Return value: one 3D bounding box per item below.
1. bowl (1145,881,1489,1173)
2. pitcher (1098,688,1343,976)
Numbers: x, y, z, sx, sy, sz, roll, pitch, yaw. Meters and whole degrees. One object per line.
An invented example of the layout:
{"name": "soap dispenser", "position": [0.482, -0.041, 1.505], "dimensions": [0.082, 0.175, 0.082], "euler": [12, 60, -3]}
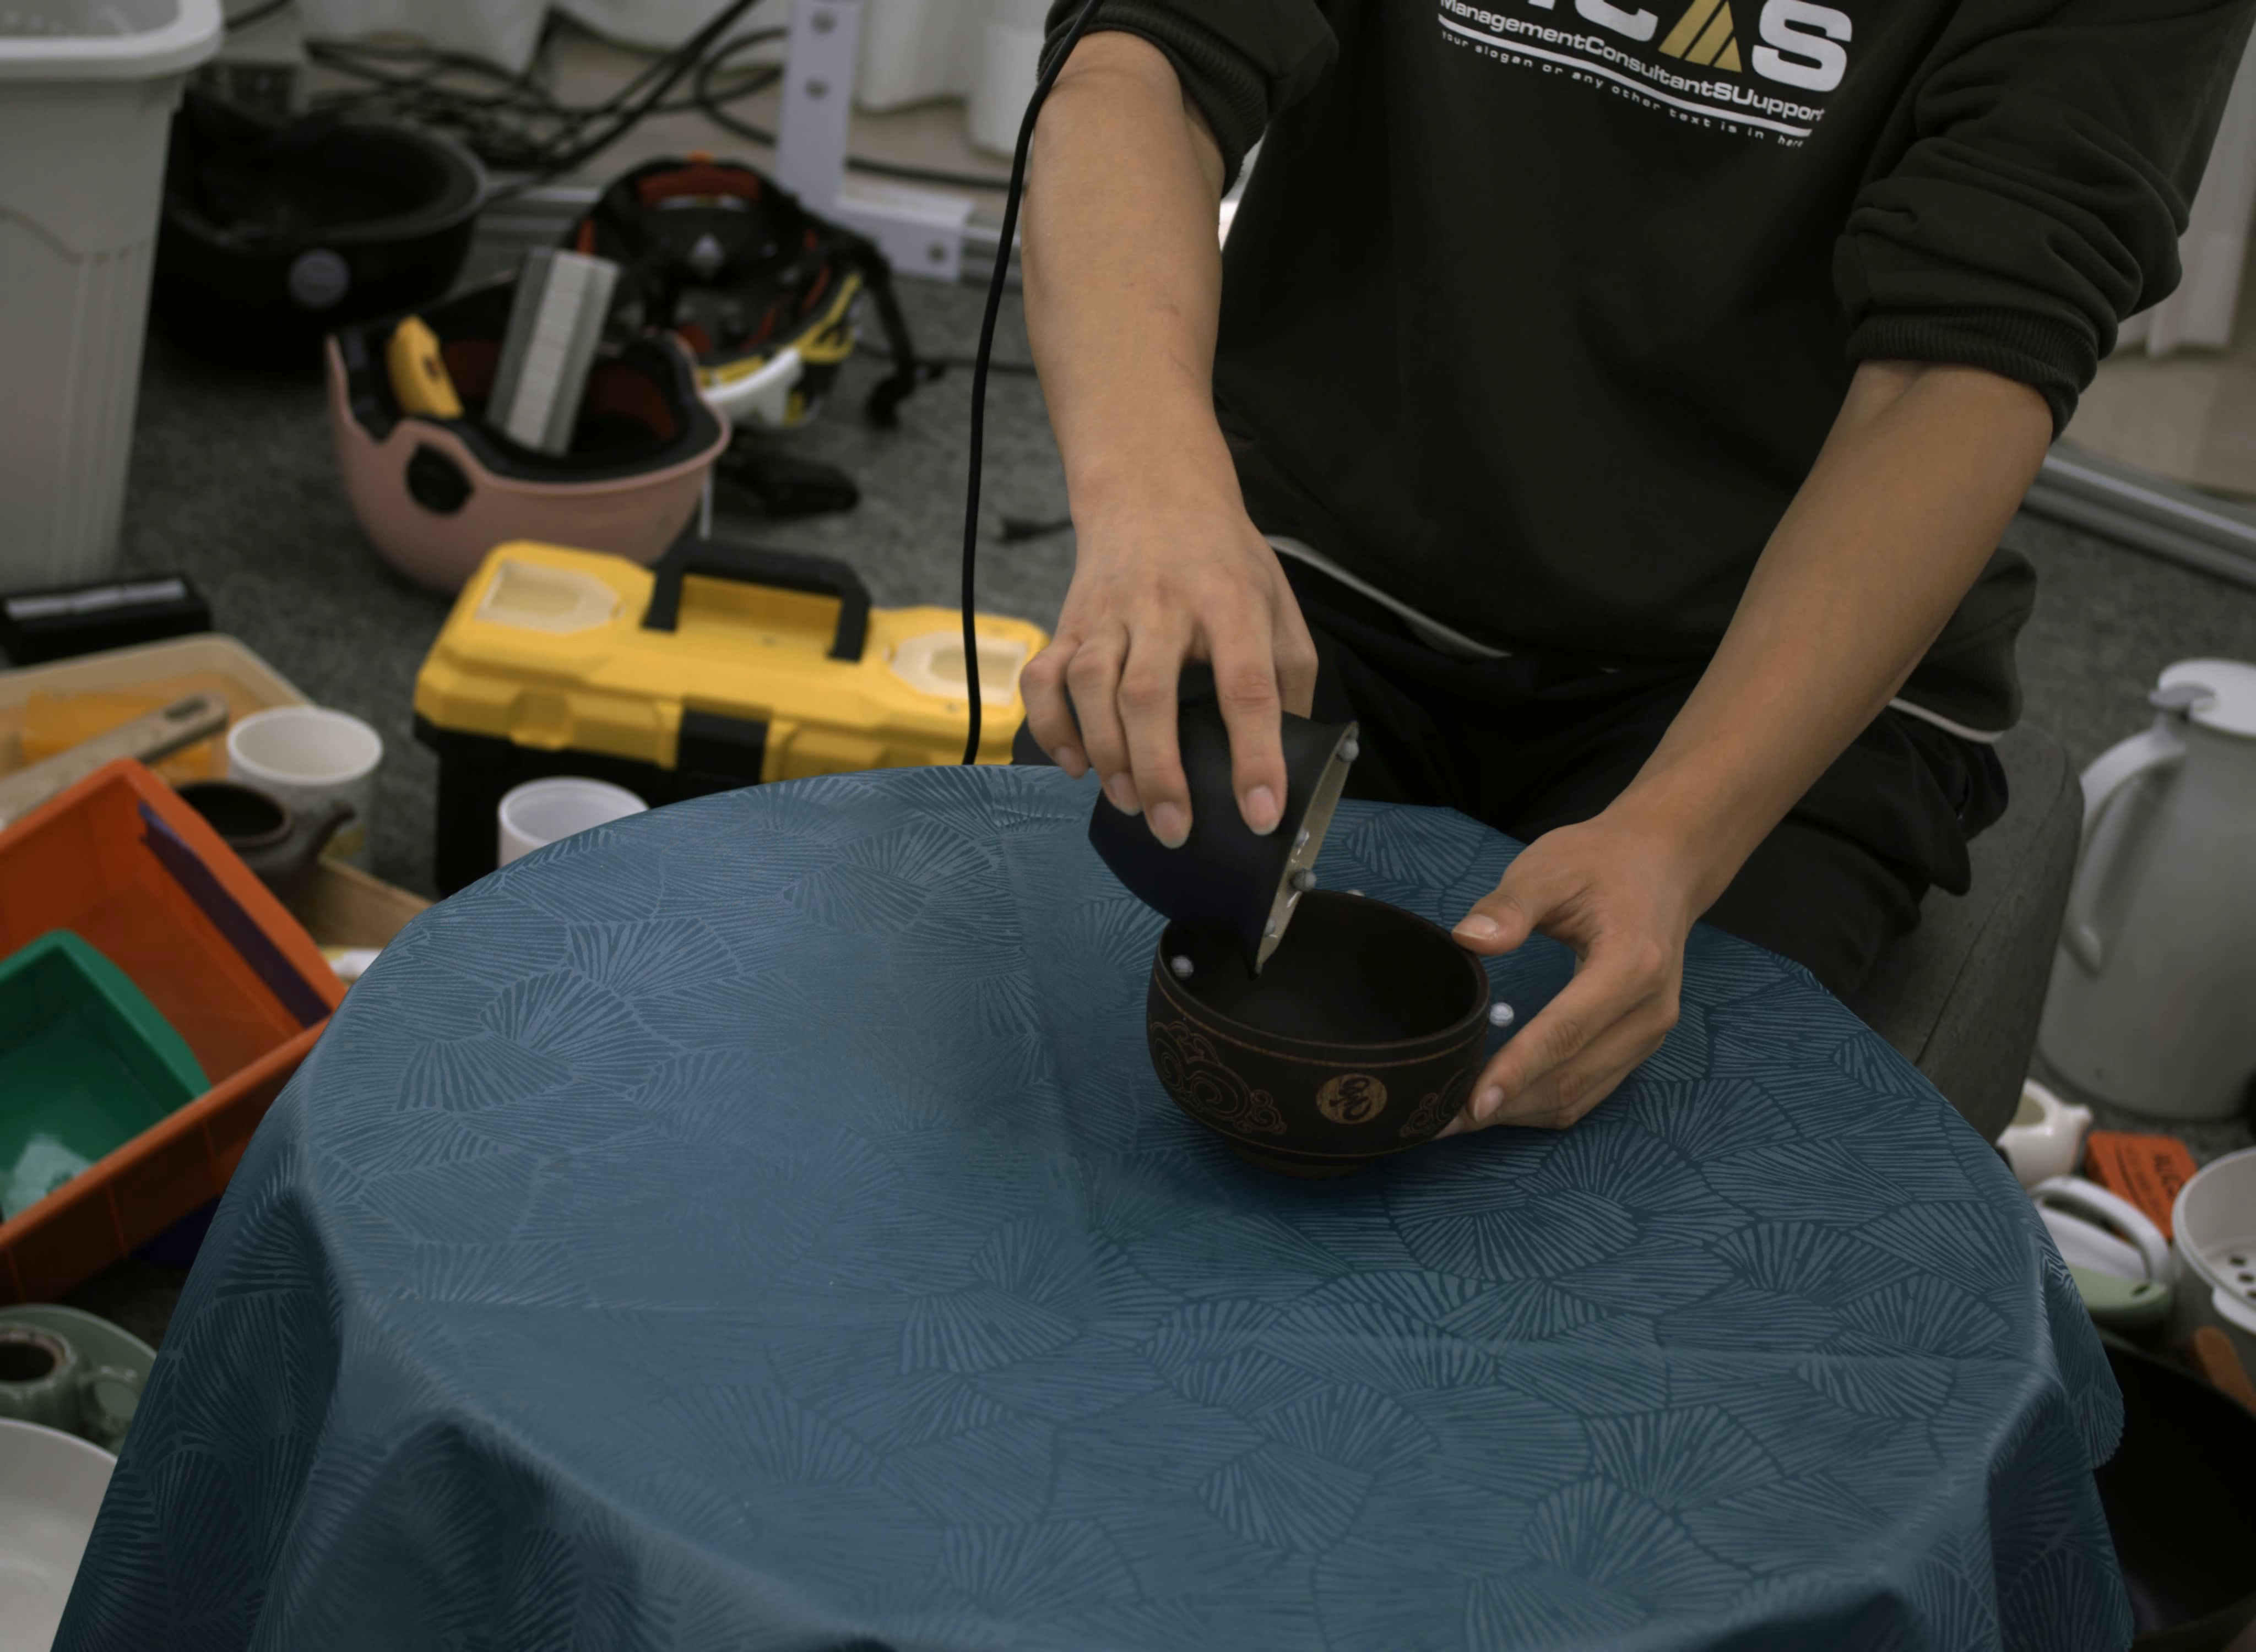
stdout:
{"name": "bowl", "position": [0.063, 0.076, 1.837], "dimensions": [0.117, 0.069, 0.119], "euler": [4, 28, -3]}
{"name": "pitcher", "position": [0.030, -0.004, 1.816], "dimensions": [0.071, 0.096, 0.084], "euler": [23, 20, 5]}
